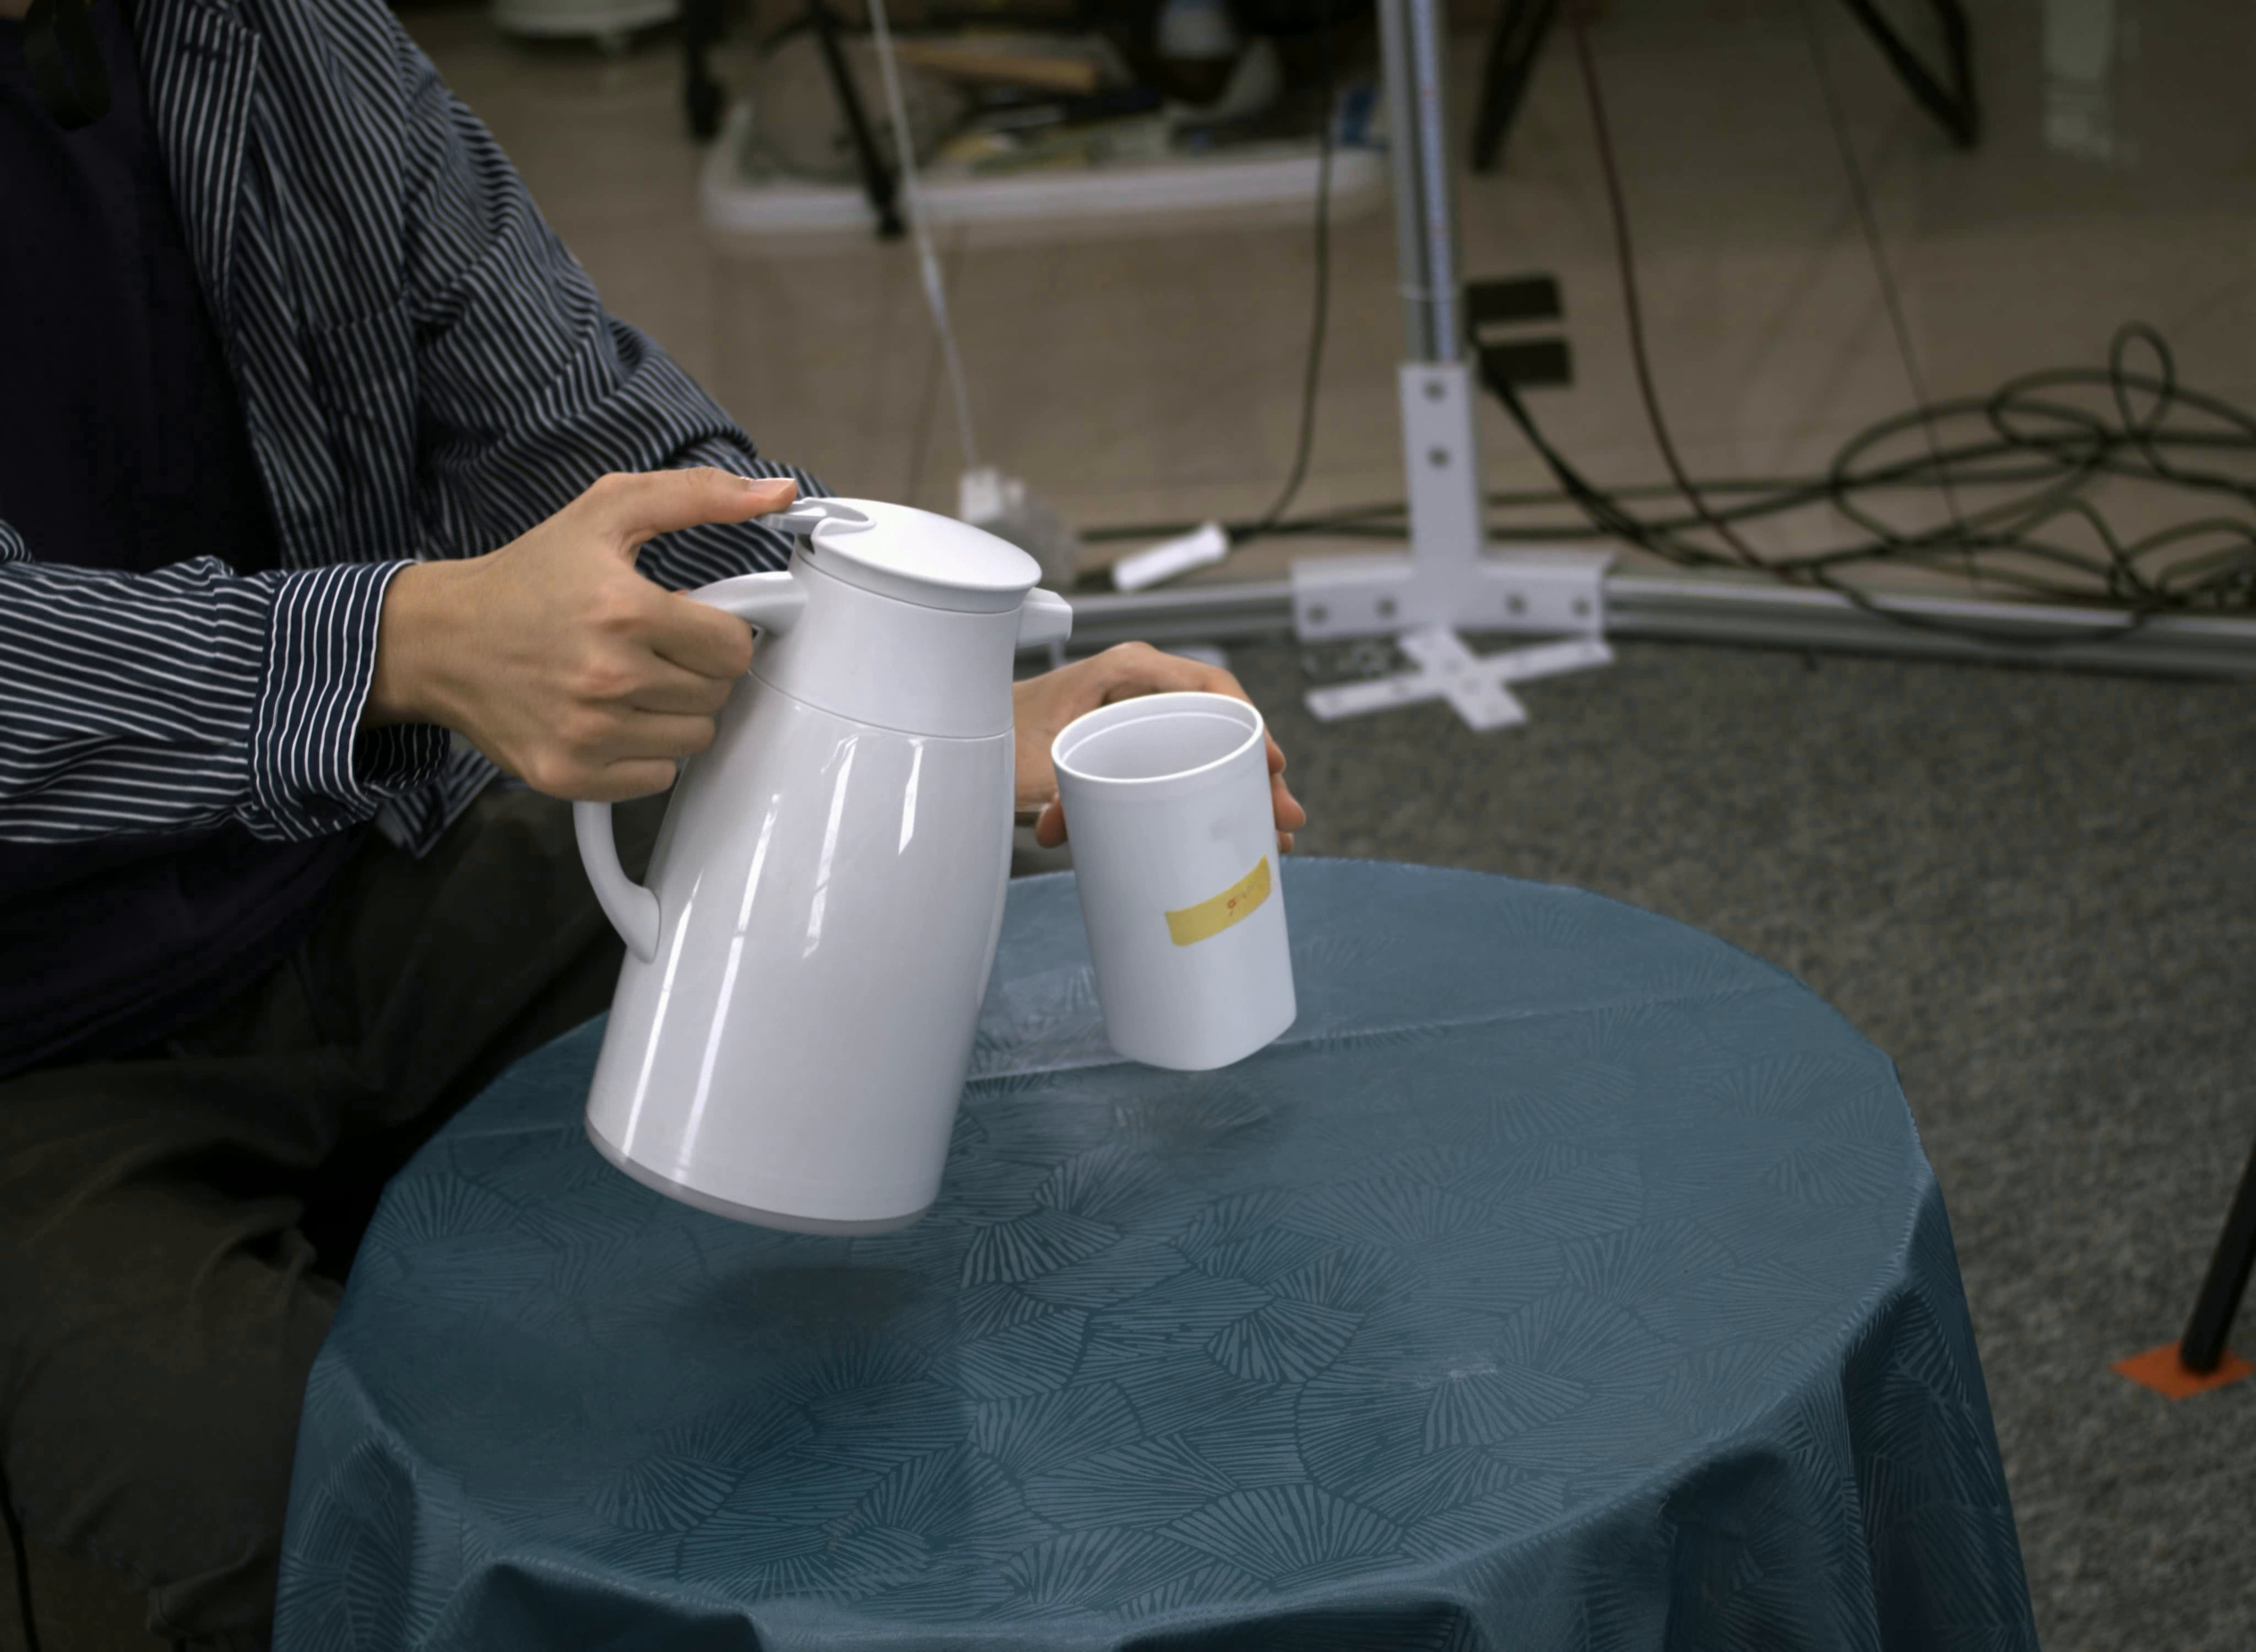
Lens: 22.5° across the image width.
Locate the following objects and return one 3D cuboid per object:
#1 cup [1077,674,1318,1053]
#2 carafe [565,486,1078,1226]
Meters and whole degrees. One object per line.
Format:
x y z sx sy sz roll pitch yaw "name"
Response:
0.029 0.015 2.152 0.081 0.127 0.080 -7 26 4 "cup"
-0.120 0.002 2.015 0.168 0.251 0.131 7 21 -32 "carafe"
